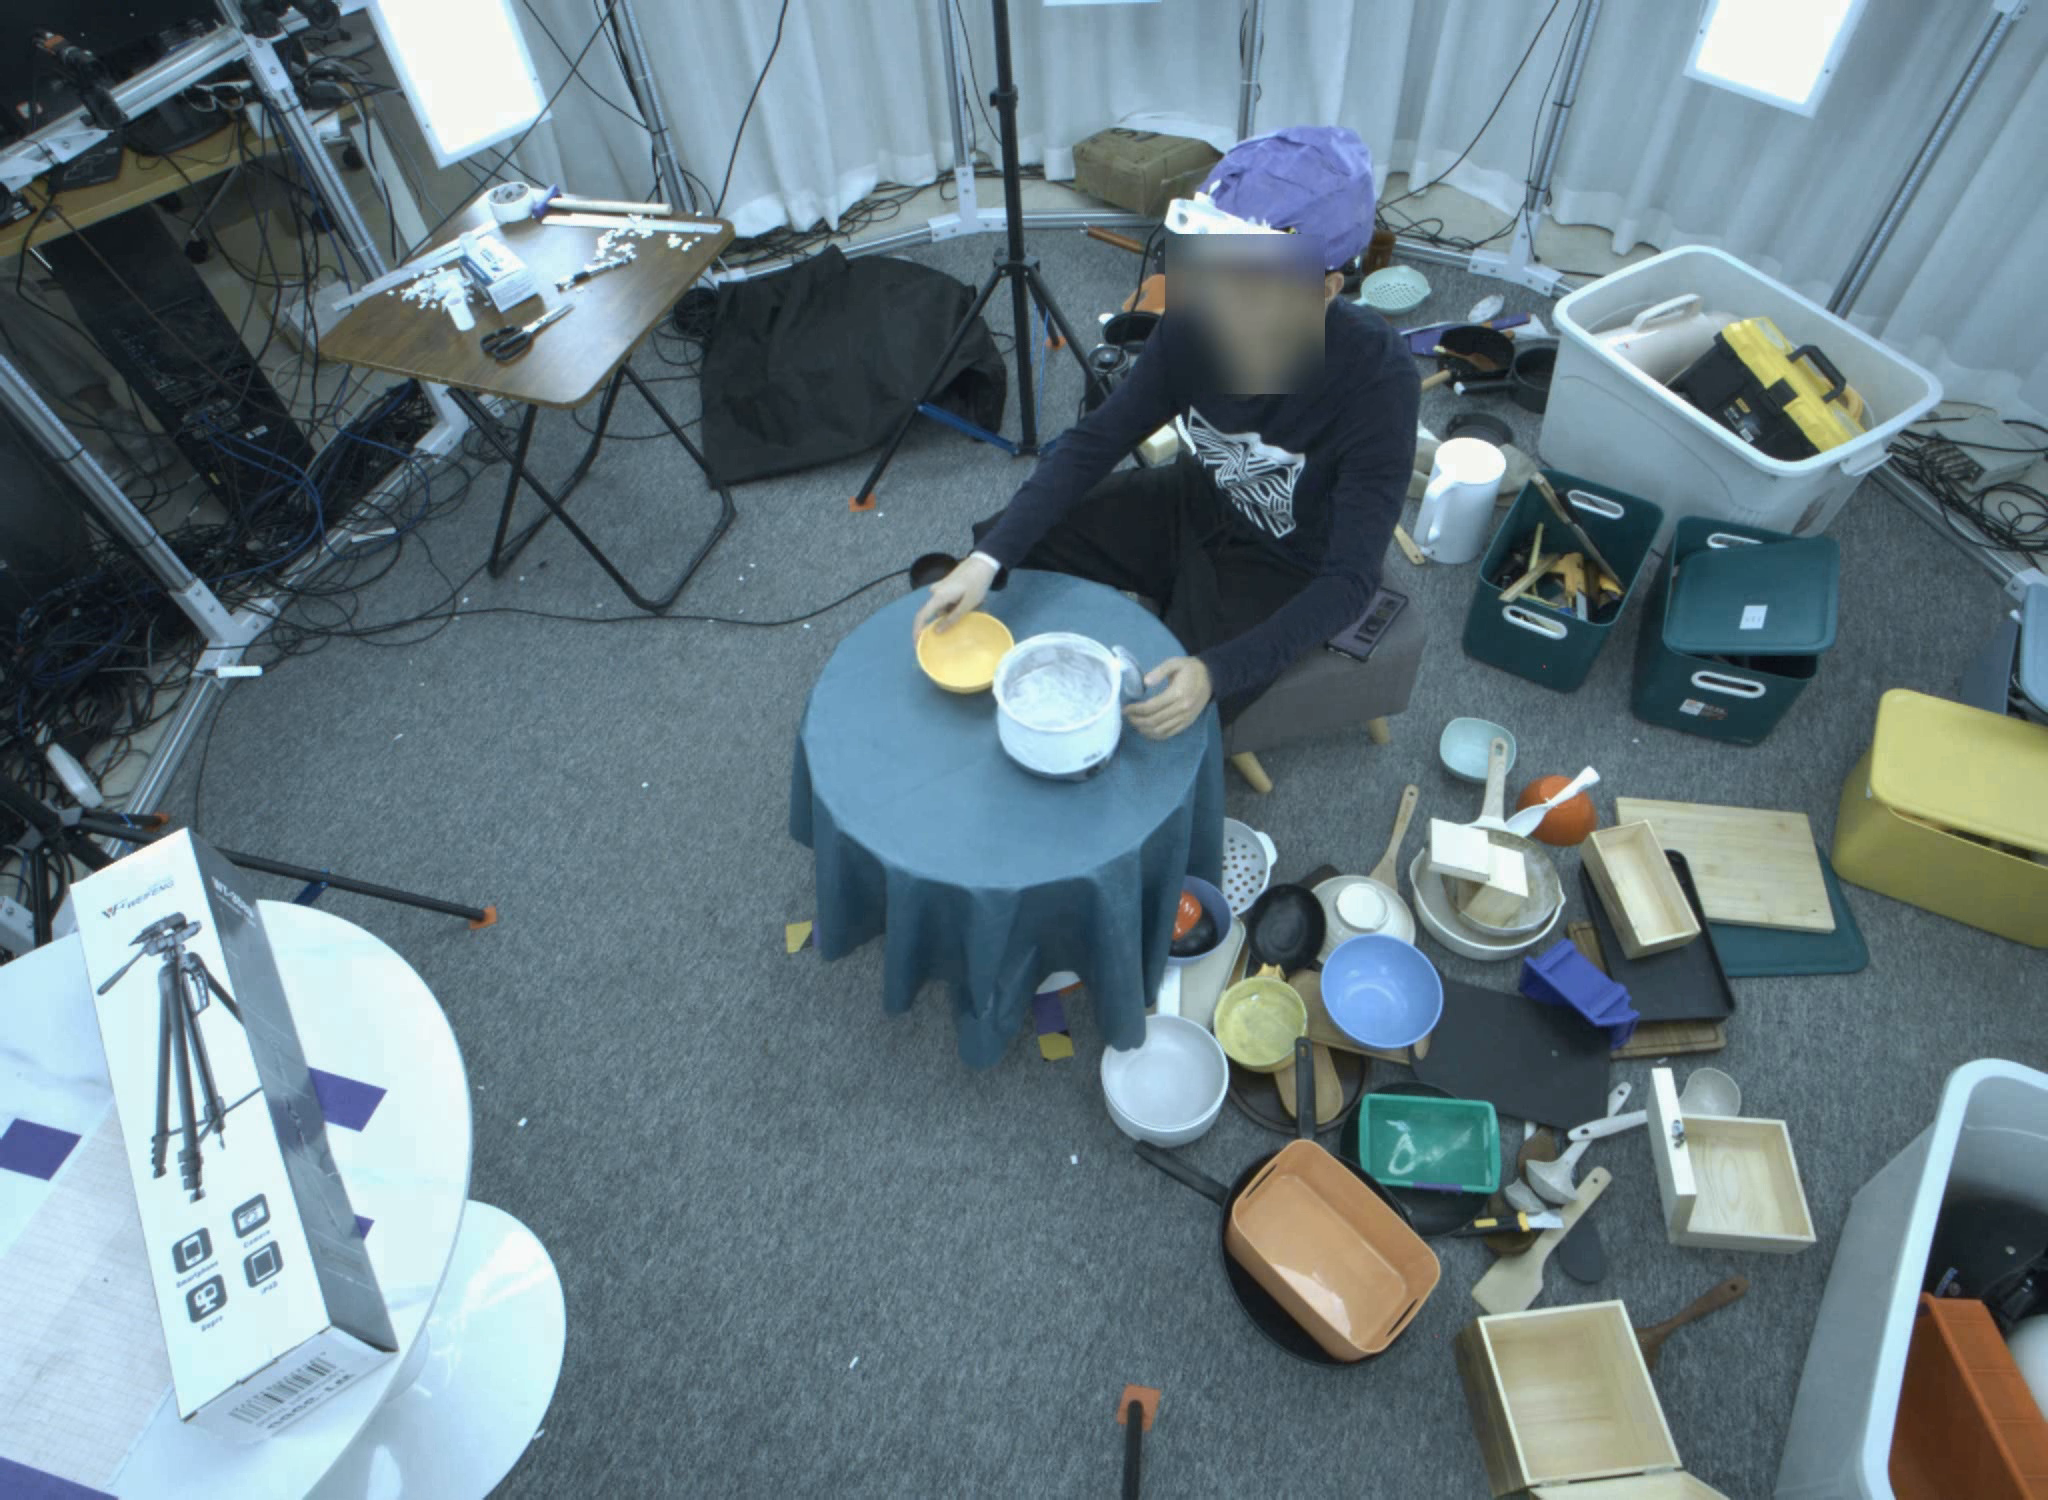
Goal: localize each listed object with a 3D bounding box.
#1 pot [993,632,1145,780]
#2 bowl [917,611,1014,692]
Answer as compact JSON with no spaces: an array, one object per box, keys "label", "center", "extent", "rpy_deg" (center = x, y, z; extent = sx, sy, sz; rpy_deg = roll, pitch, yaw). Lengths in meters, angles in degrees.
[{"label":"pot","center":[0.072,-0.073,1.760],"extent":[0.235,0.138,0.175],"rpy_deg":[-30,61,-17]},{"label":"bowl","center":[-0.087,-0.138,1.858],"extent":[0.145,0.060,0.144],"rpy_deg":[1,56,0]}]
